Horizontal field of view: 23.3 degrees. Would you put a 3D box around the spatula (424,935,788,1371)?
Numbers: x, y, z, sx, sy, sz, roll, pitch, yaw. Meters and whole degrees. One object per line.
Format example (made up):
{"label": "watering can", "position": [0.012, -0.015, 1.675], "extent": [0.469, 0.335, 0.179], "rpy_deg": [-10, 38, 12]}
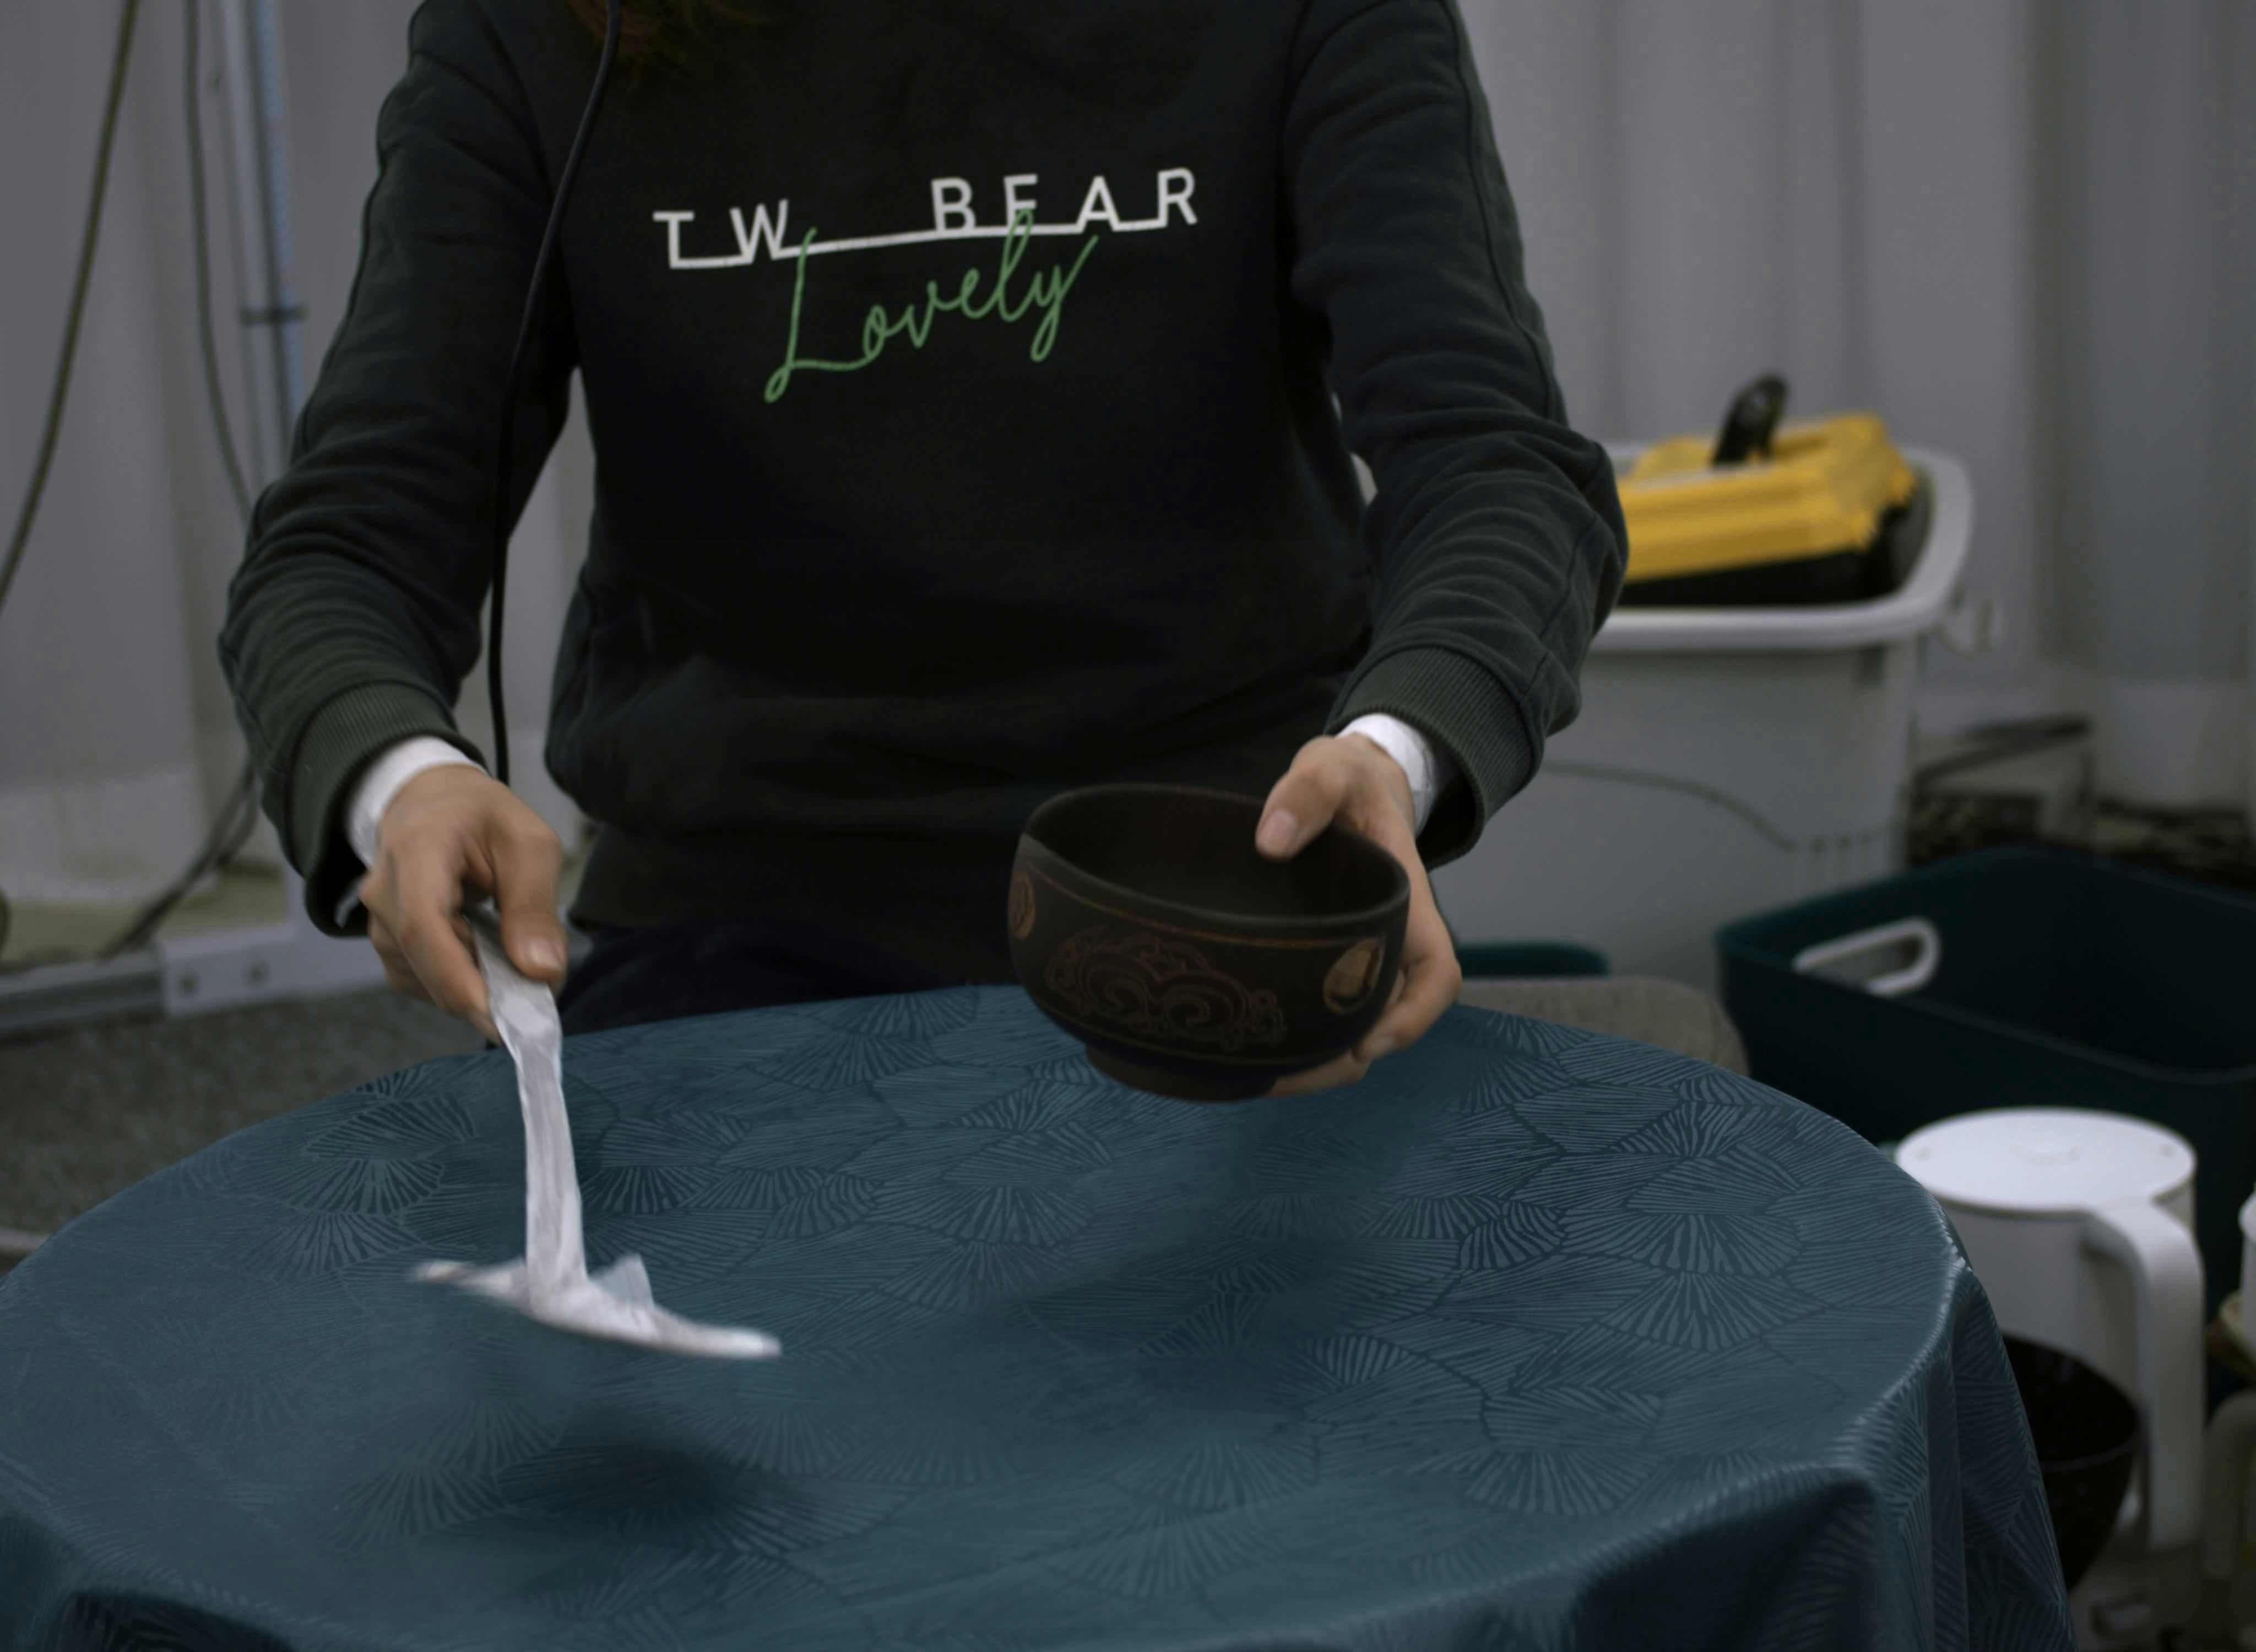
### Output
{"label": "spatula", "position": [-0.165, 0.086, 1.608], "extent": [0.098, 0.044, 0.369], "rpy_deg": [12, 20, -14]}

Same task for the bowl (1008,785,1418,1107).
{"label": "bowl", "position": [0.021, 0.040, 1.595], "extent": [0.117, 0.069, 0.119], "rpy_deg": [11, 16, -3]}
